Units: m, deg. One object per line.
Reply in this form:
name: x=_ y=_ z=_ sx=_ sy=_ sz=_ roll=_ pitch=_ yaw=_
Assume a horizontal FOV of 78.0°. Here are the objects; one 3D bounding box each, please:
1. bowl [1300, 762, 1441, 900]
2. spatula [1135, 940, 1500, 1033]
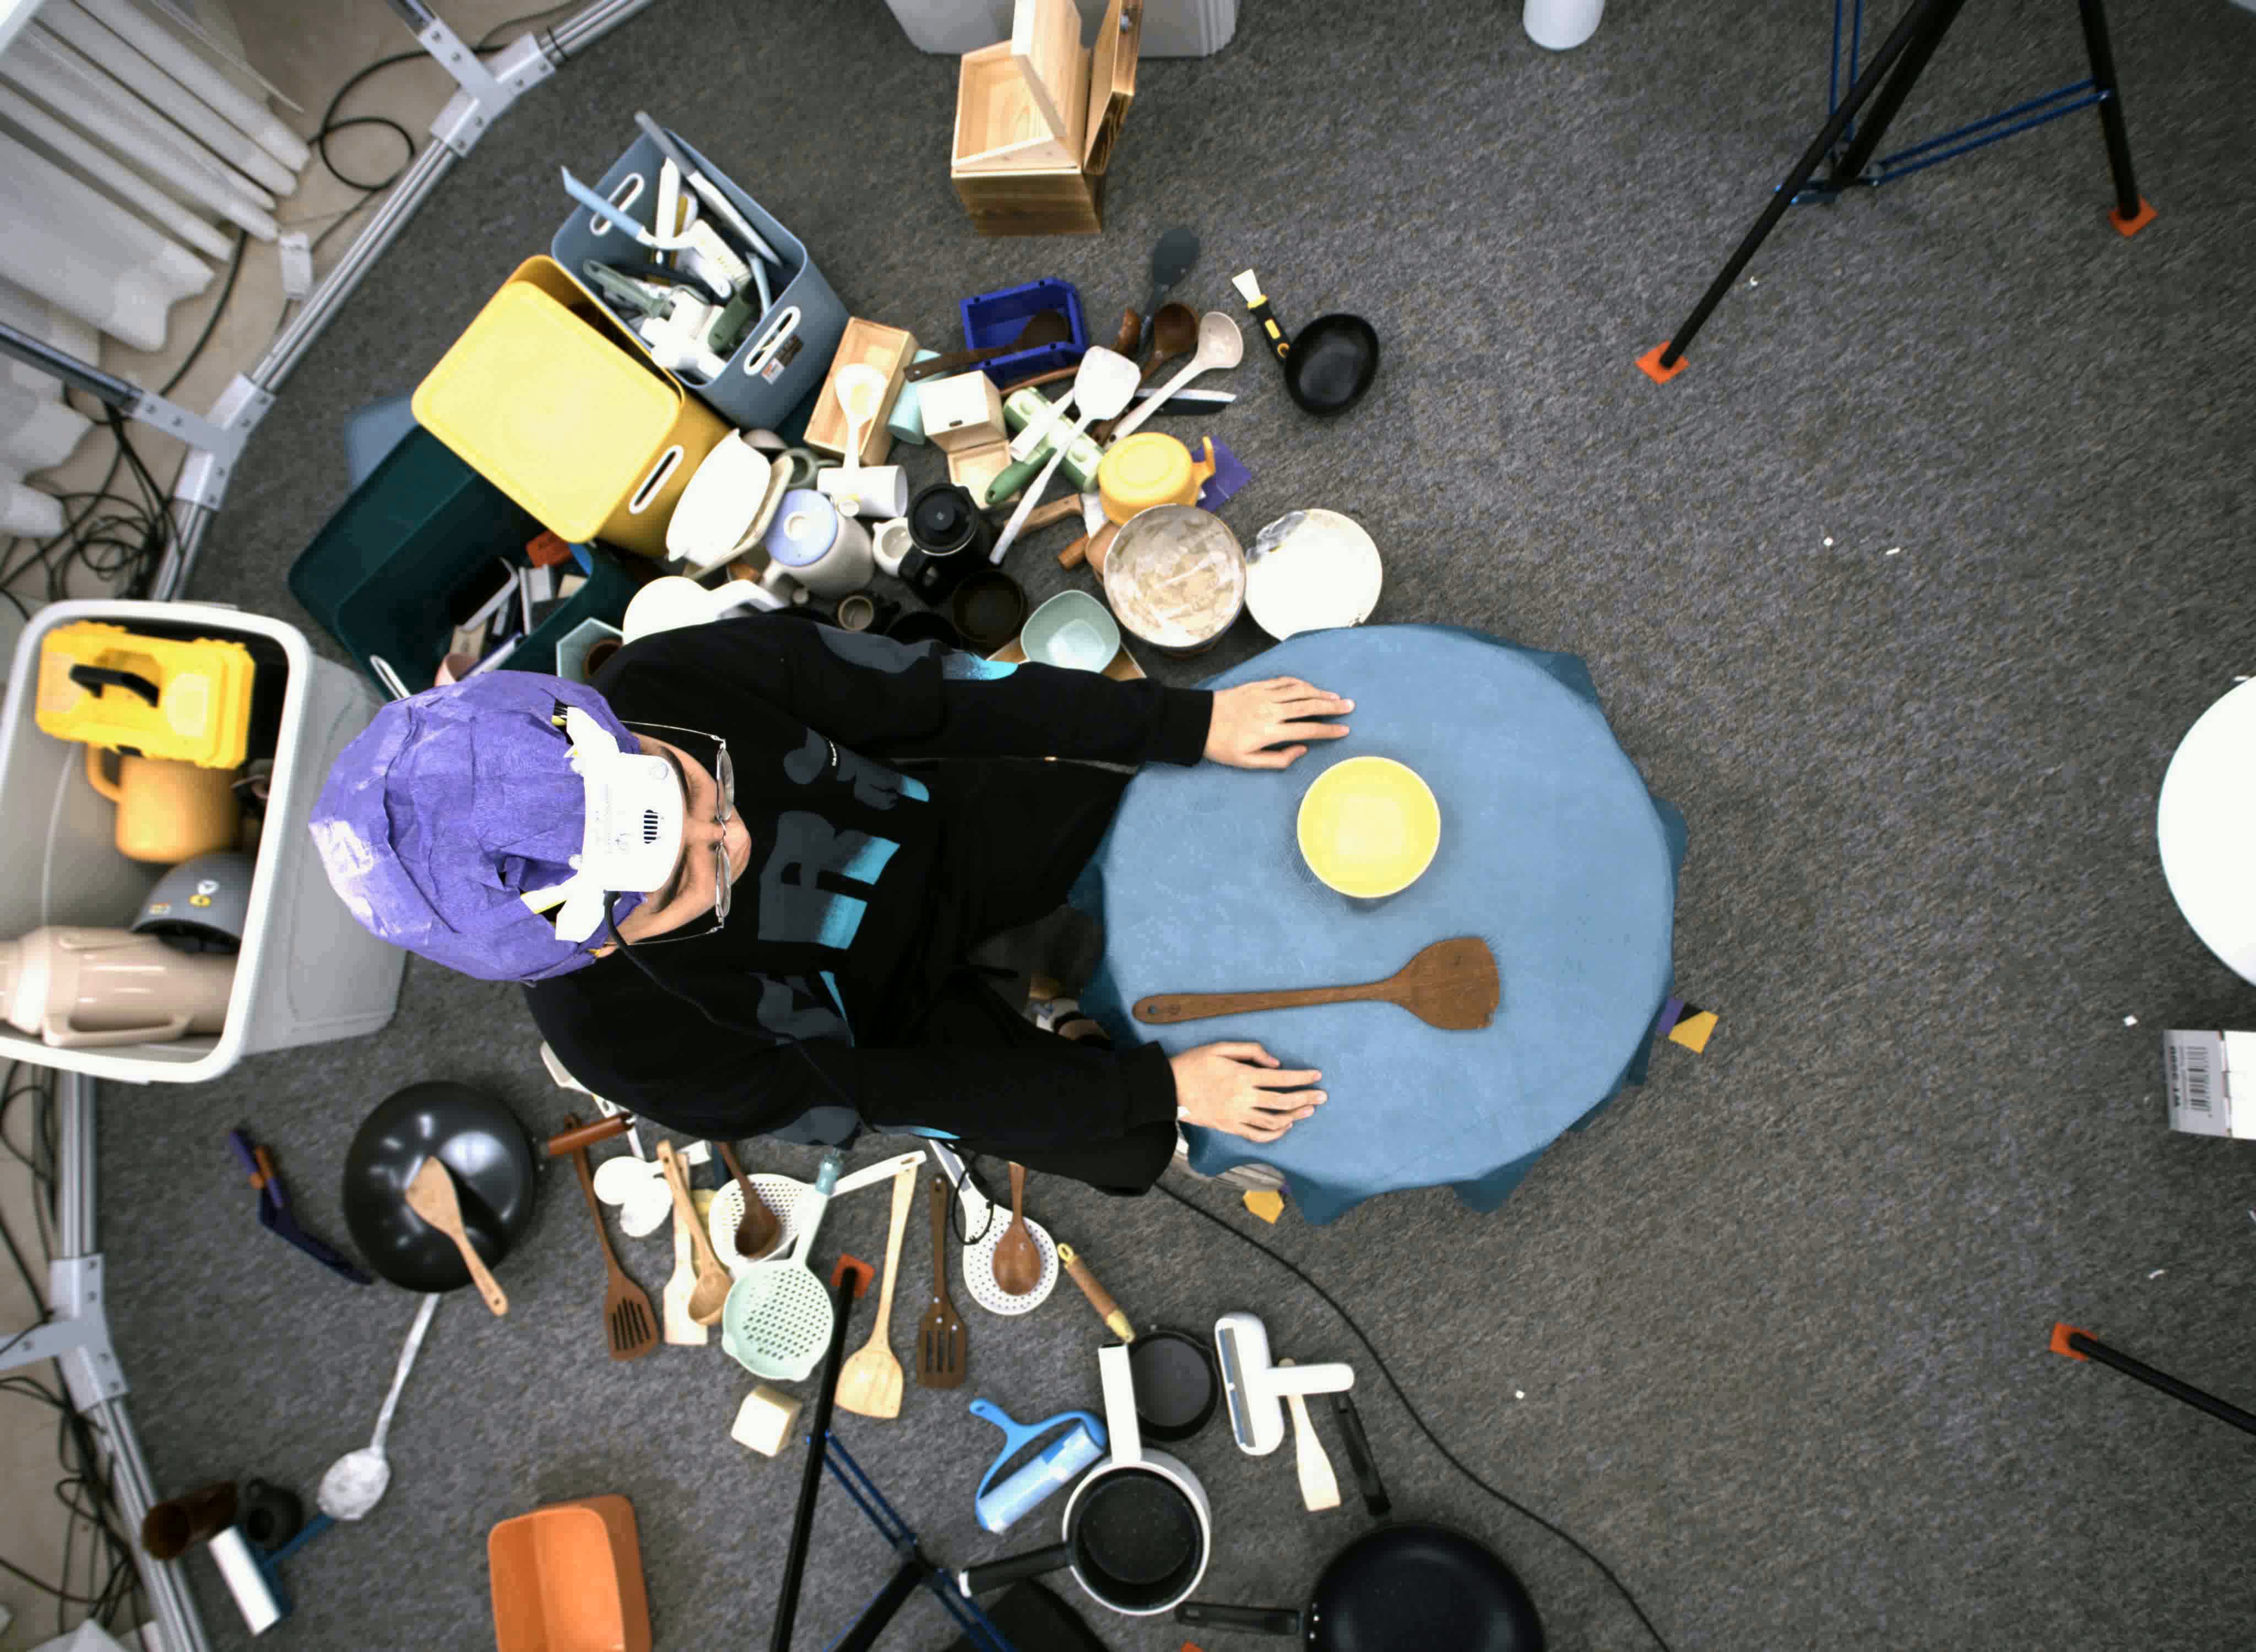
bowl: x=0.254 y=0.008 z=1.444 sx=0.146 sy=0.060 sz=0.144 roll=-2 pitch=83 yaw=11
spatula: x=0.196 y=0.183 z=1.464 sx=0.388 sy=0.016 sz=0.095 roll=-6 pitch=84 yaw=10
